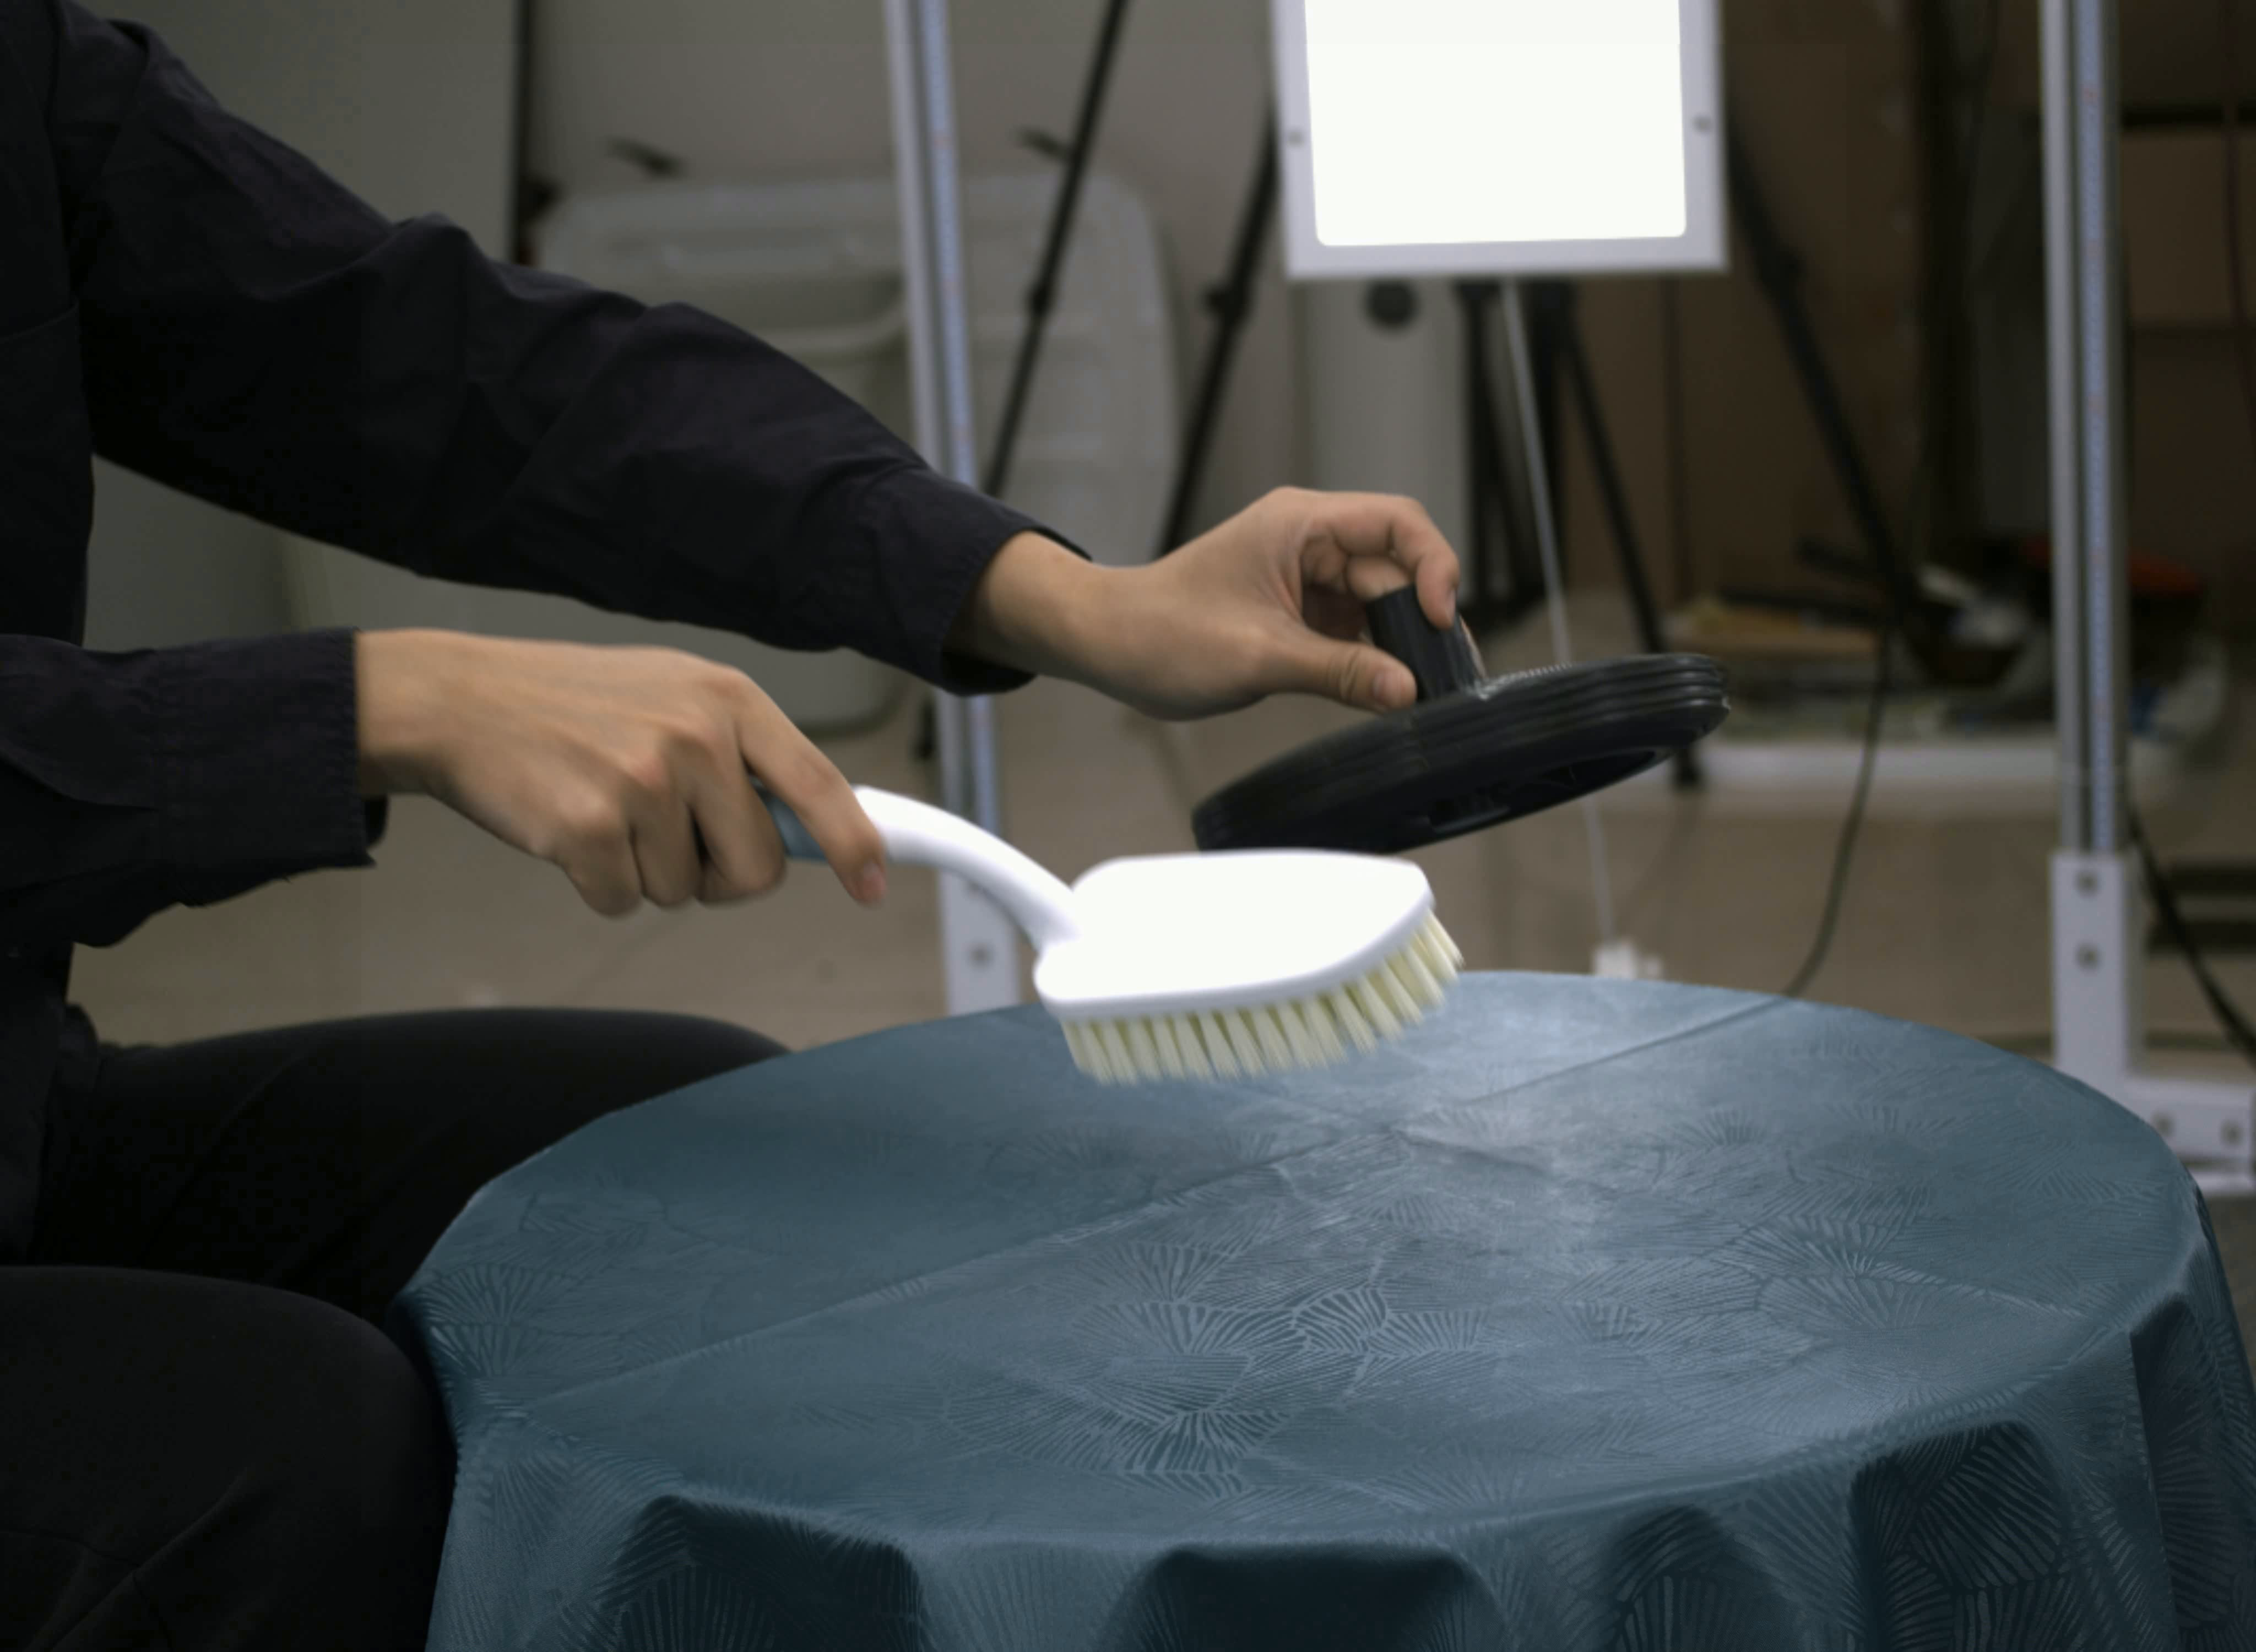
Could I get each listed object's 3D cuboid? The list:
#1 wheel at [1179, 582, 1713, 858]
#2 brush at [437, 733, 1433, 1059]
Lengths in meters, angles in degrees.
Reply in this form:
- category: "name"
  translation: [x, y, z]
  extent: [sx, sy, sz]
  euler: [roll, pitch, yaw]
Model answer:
- category: "wheel"
  translation: [0.103, -0.042, 1.890]
  extent: [0.186, 0.079, 0.190]
  euler: [-14, -7, -21]
- category: "brush"
  translation: [-0.061, 0.025, 1.733]
  extent: [0.329, 0.085, 0.082]
  euler: [6, 5, 19]
